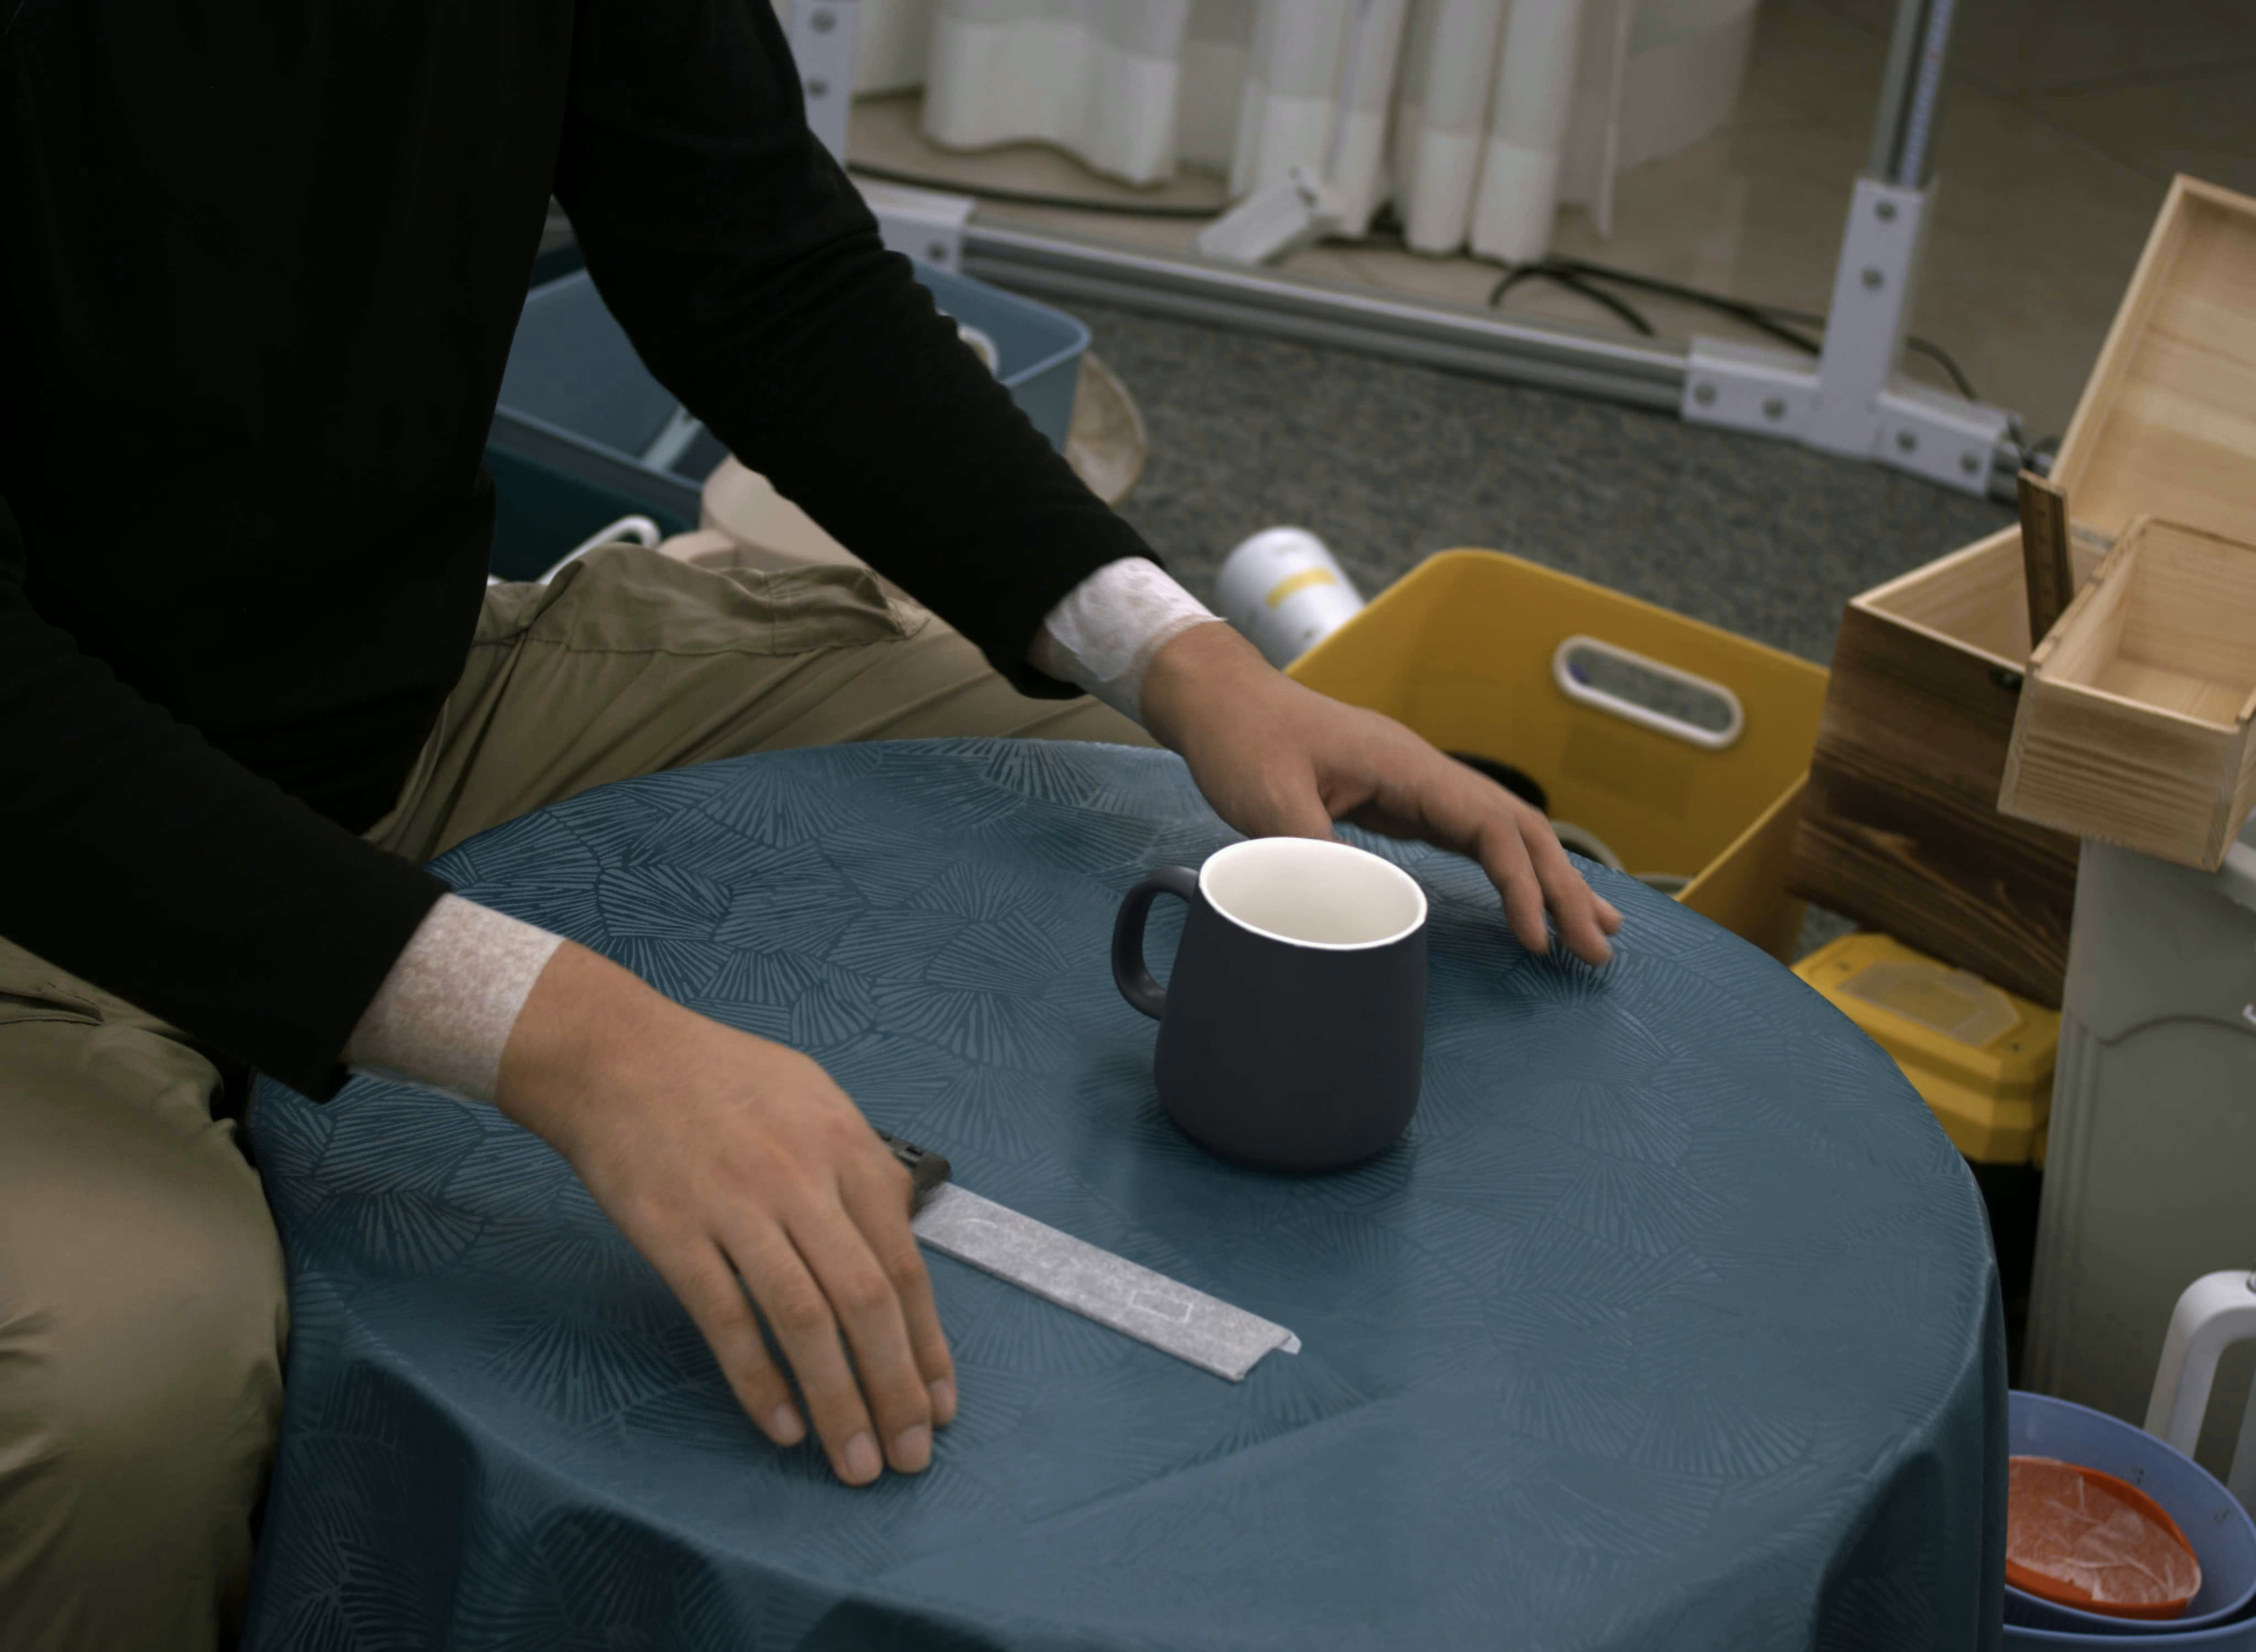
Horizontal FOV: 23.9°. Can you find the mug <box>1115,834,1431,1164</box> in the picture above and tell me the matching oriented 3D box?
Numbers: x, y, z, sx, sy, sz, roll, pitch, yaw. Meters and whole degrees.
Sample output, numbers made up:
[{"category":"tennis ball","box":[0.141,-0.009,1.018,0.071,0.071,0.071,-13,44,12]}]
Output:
[{"category":"mug","box":[0.047,0.055,1.845,0.124,0.089,0.093,26,32,31]}]

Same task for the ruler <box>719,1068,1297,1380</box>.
[{"category":"ruler","box":[-0.045,0.128,1.758,0.219,0.024,0.038,21,37,28]}]
